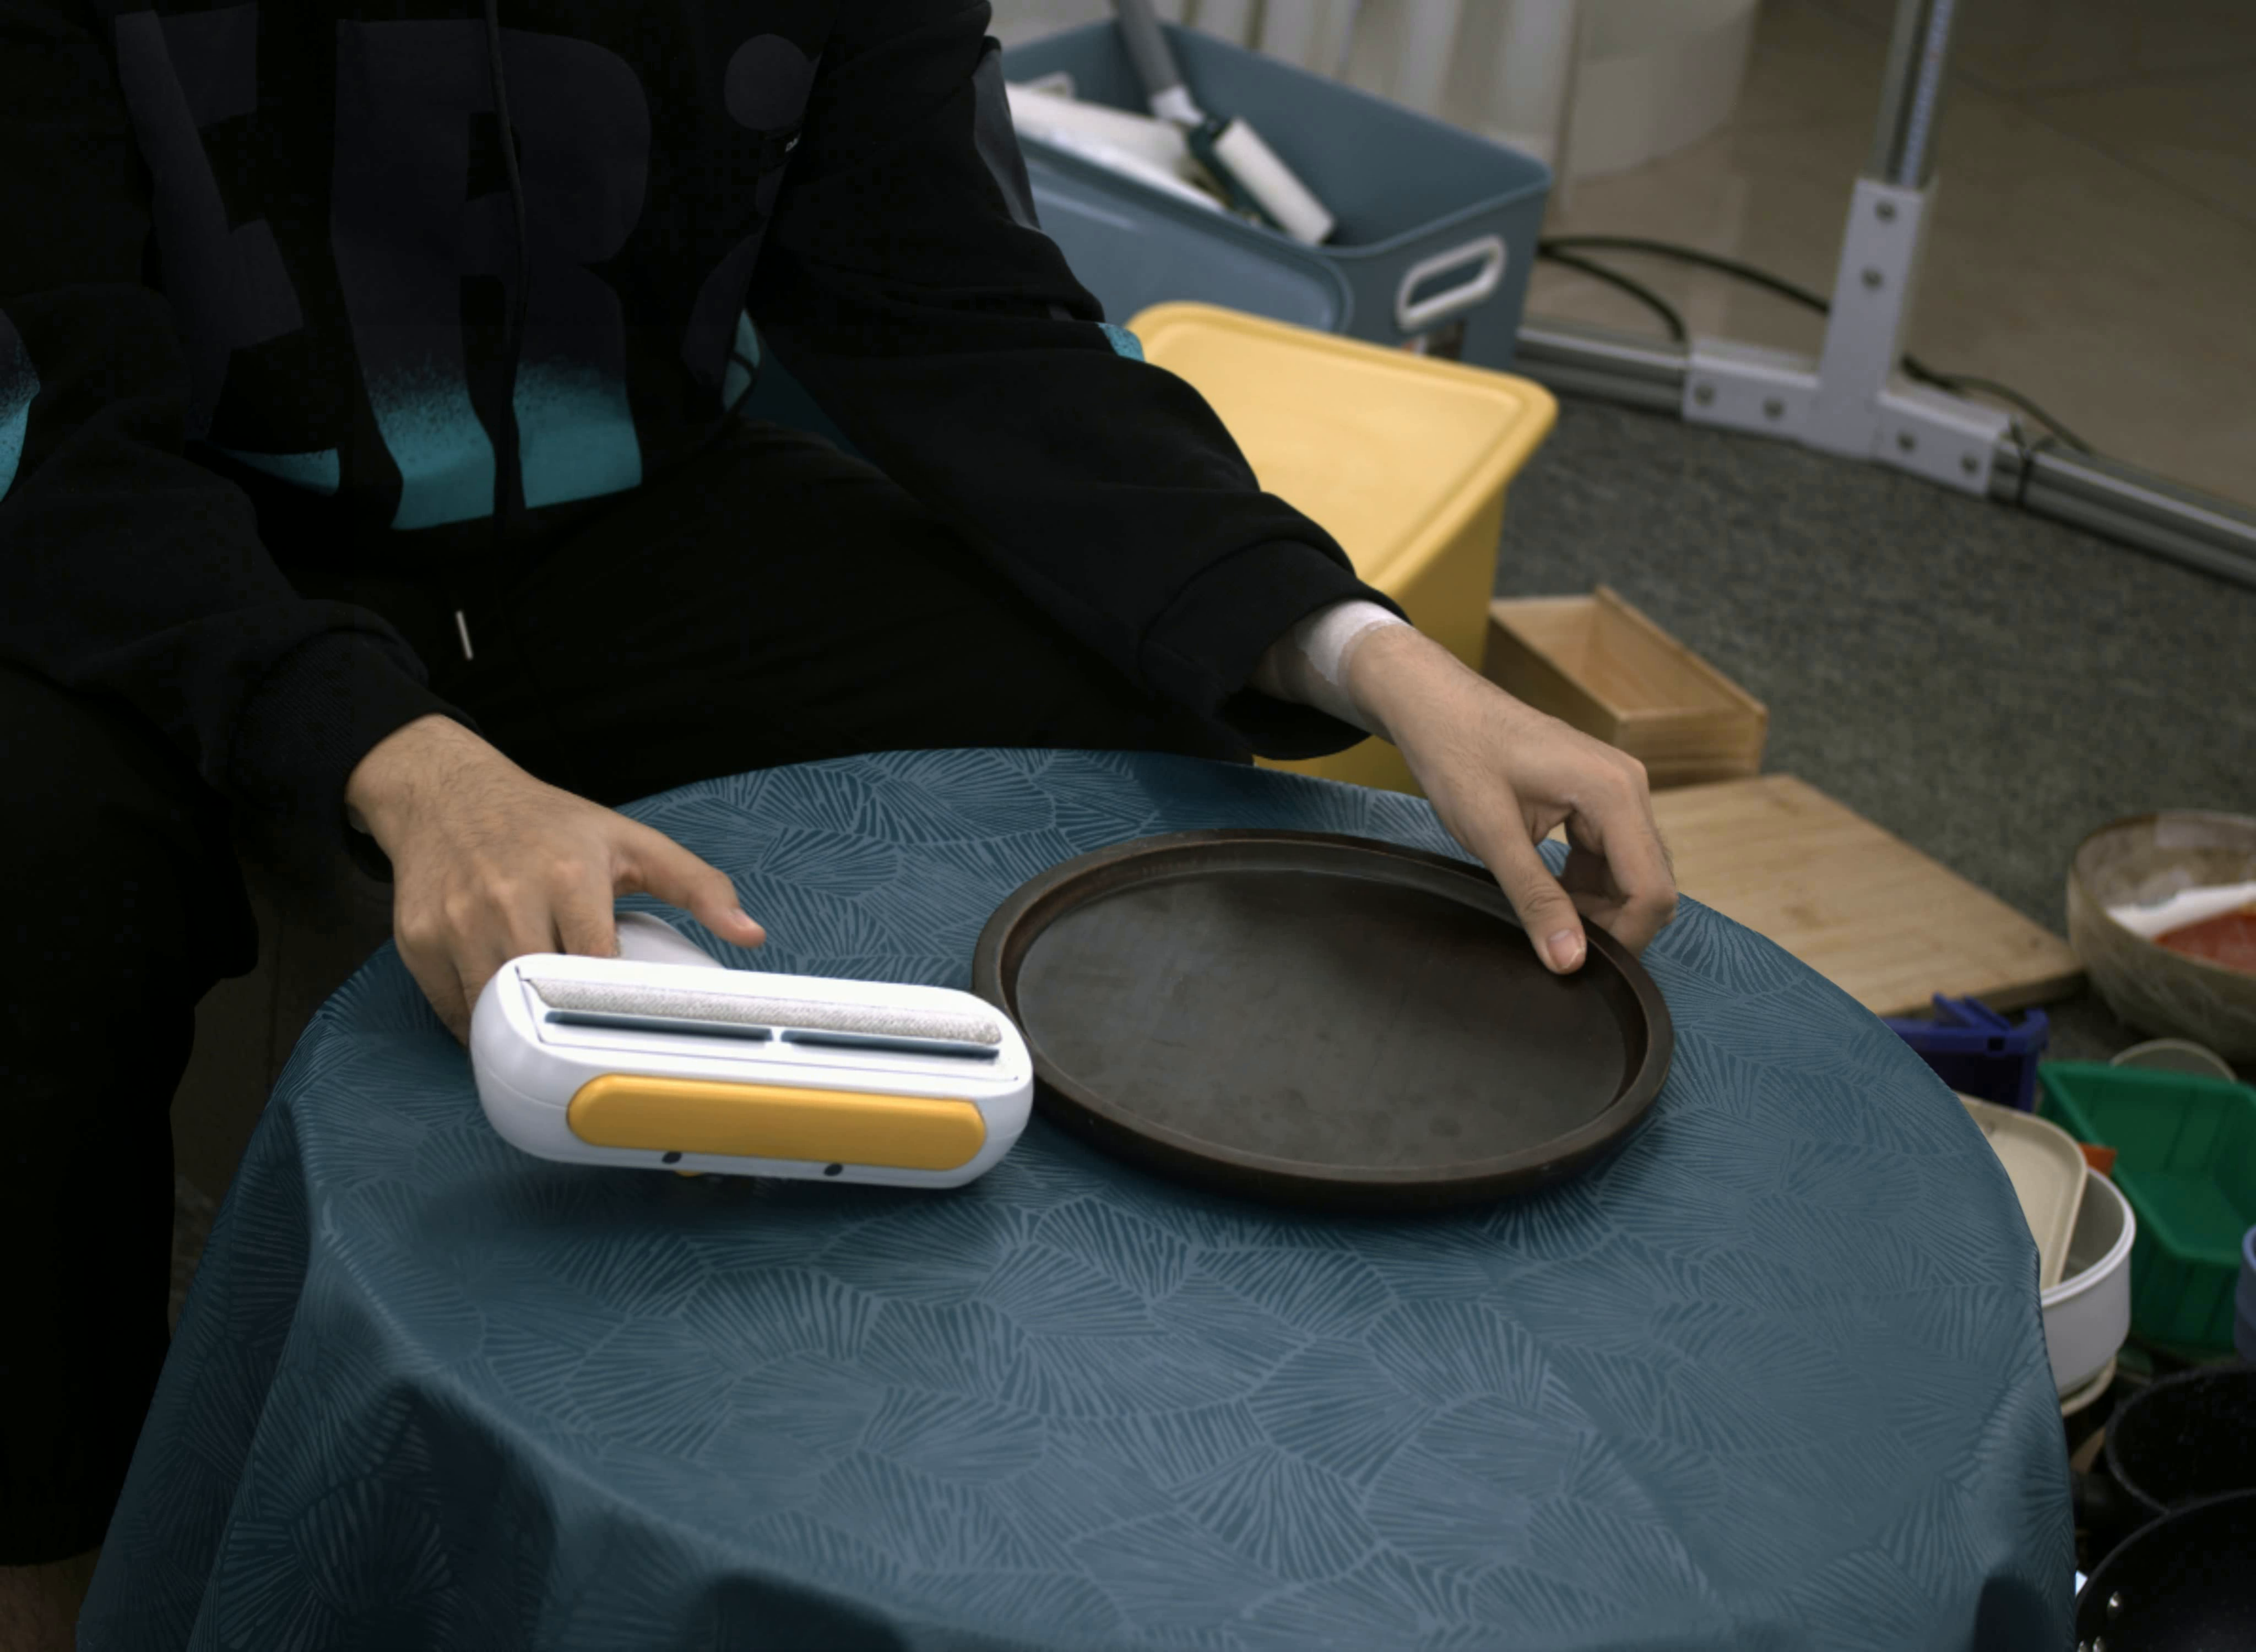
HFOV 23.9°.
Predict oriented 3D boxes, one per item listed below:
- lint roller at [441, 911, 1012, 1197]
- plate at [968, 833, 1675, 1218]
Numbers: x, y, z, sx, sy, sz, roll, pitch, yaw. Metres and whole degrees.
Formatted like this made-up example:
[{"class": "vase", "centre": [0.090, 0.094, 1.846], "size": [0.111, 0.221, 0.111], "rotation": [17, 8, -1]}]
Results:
[{"class": "lint roller", "centre": [-0.149, 0.063, 1.812], "size": [0.191, 0.074, 0.194], "rotation": [3, 24, -19]}, {"class": "plate", "centre": [0.068, 0.070, 1.895], "size": [0.254, 0.029, 0.256], "rotation": [4, 26, -2]}]
